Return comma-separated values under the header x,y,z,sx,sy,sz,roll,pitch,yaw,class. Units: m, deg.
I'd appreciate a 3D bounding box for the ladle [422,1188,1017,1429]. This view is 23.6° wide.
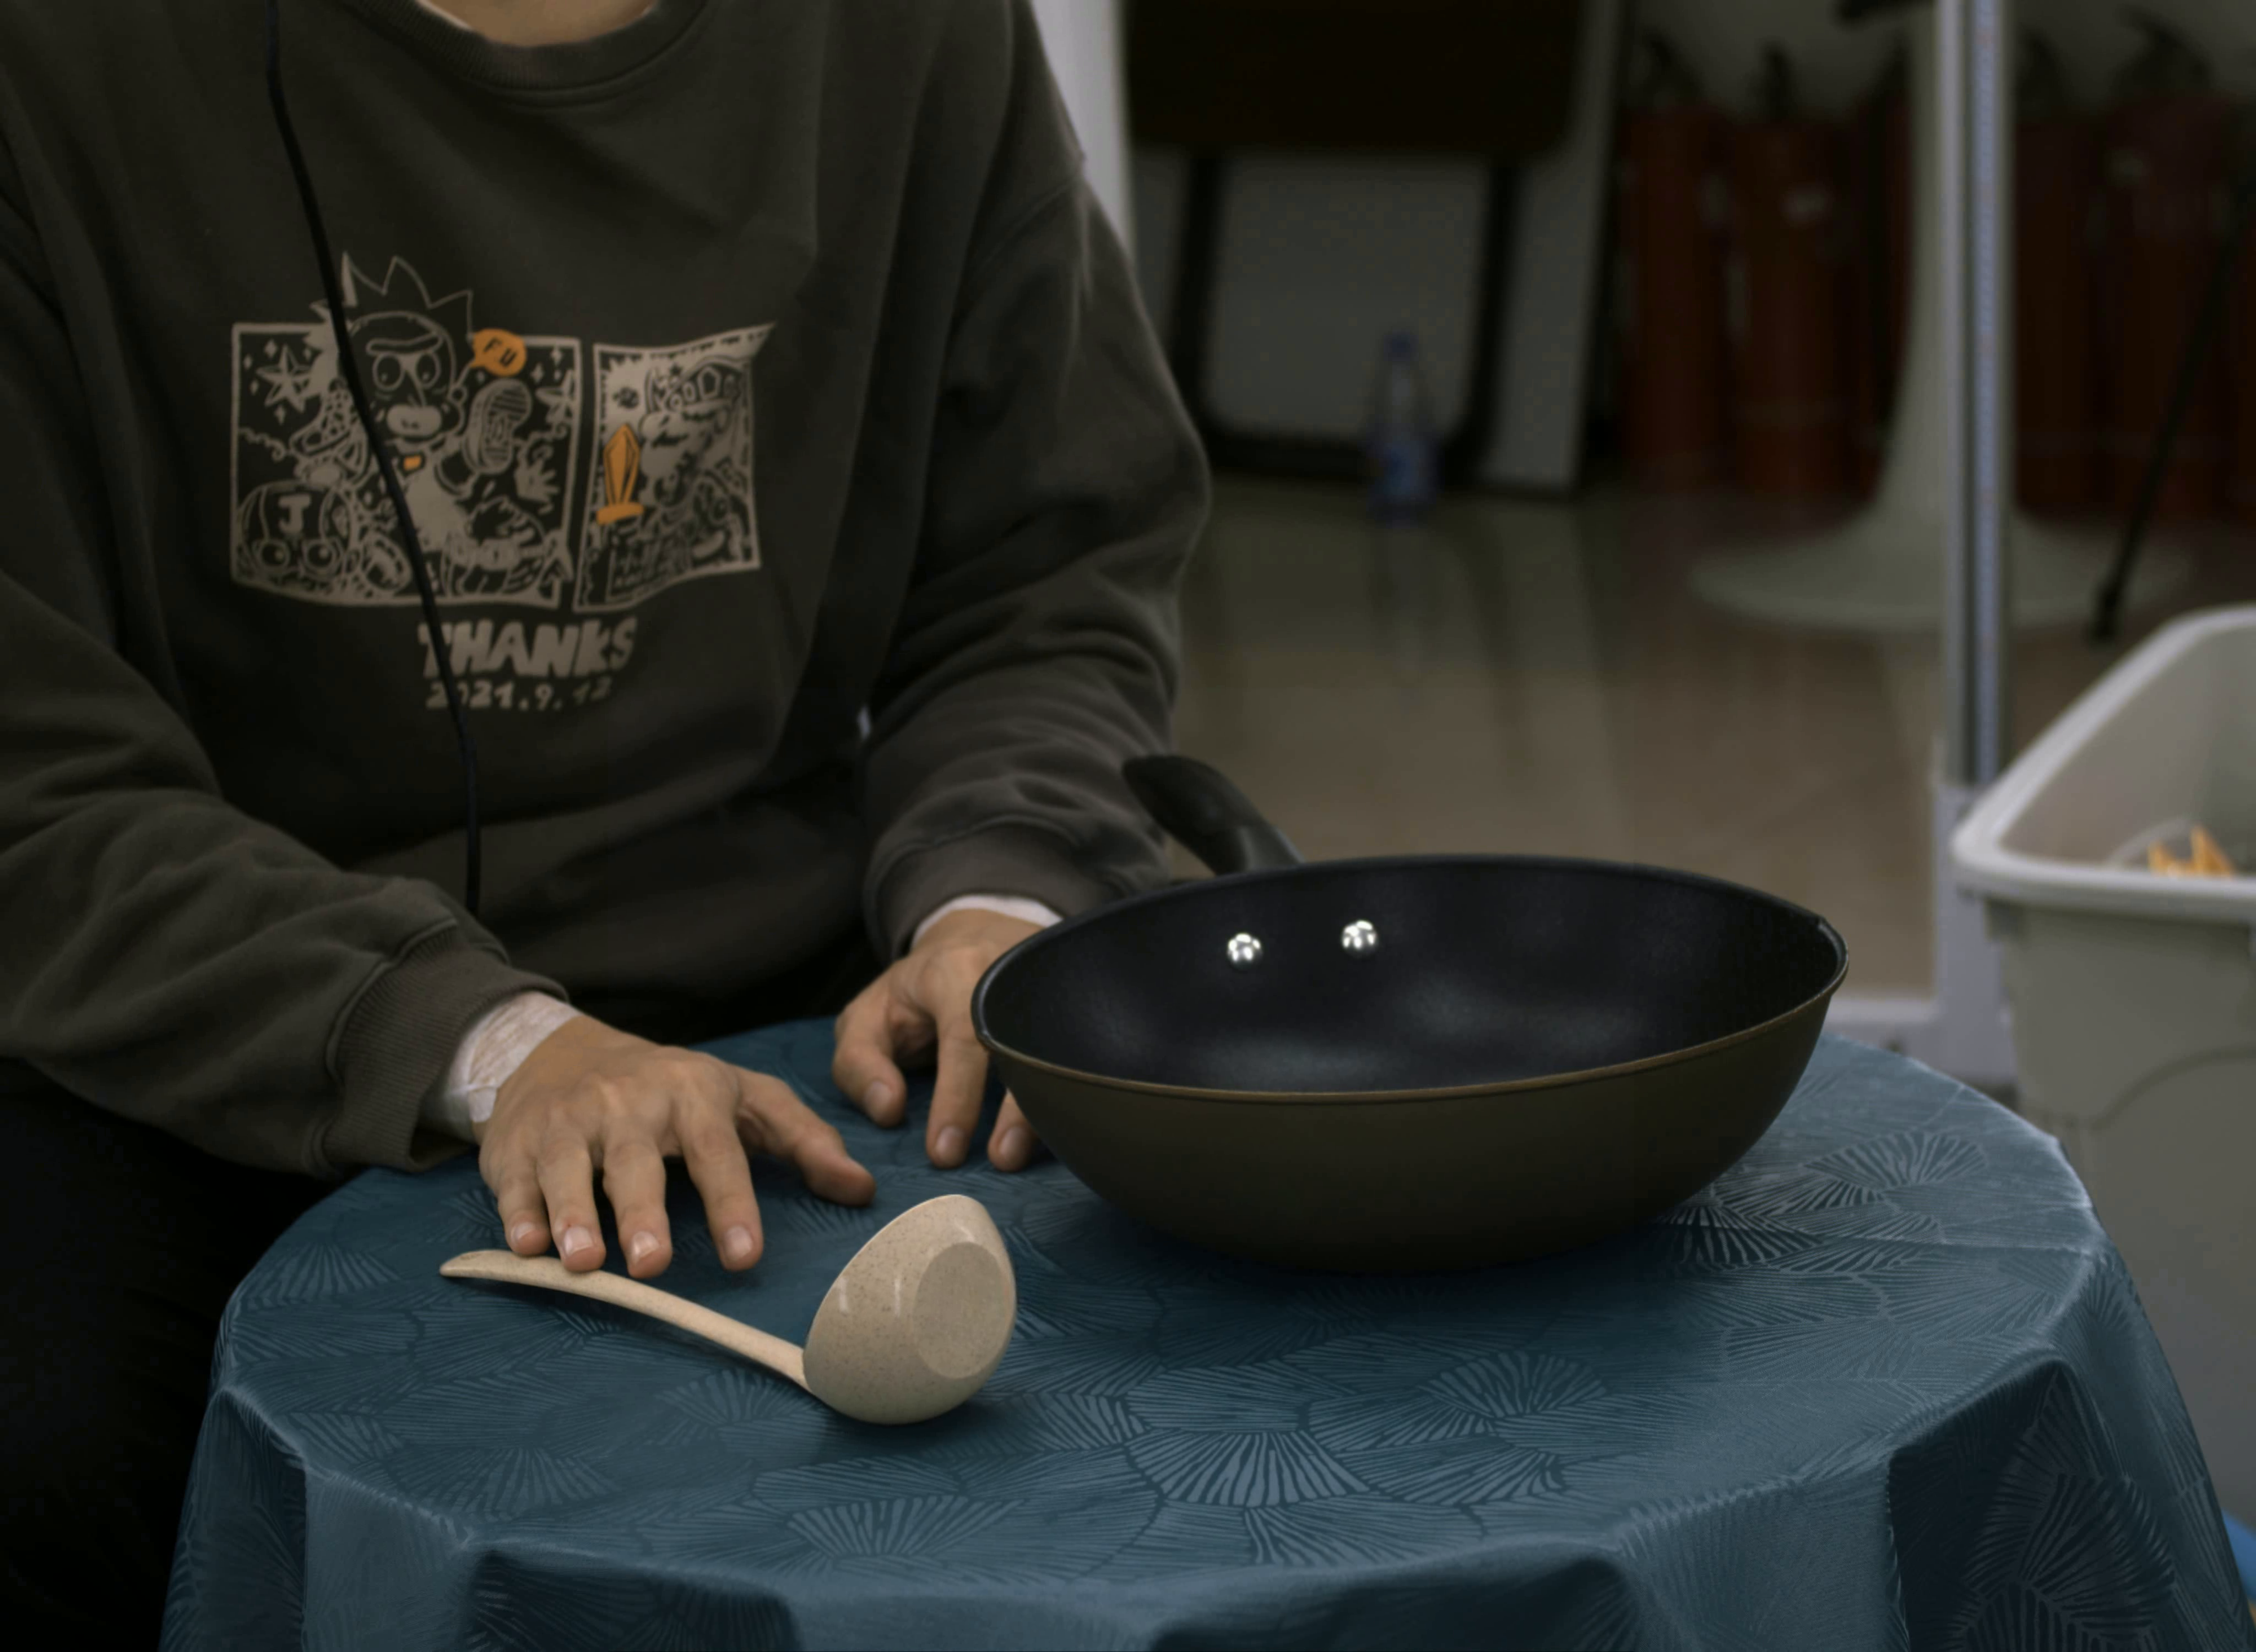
x,y,z,sx,sy,sz,roll,pitch,yaw,class
-0.136,0.127,1.637,0.257,0.073,0.071,10,23,44,ladle

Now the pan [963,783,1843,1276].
x,y,z,sx,sy,sz,roll,pitch,yaw,class
0.068,0.065,1.815,0.283,0.088,0.466,-7,12,-12,pan
